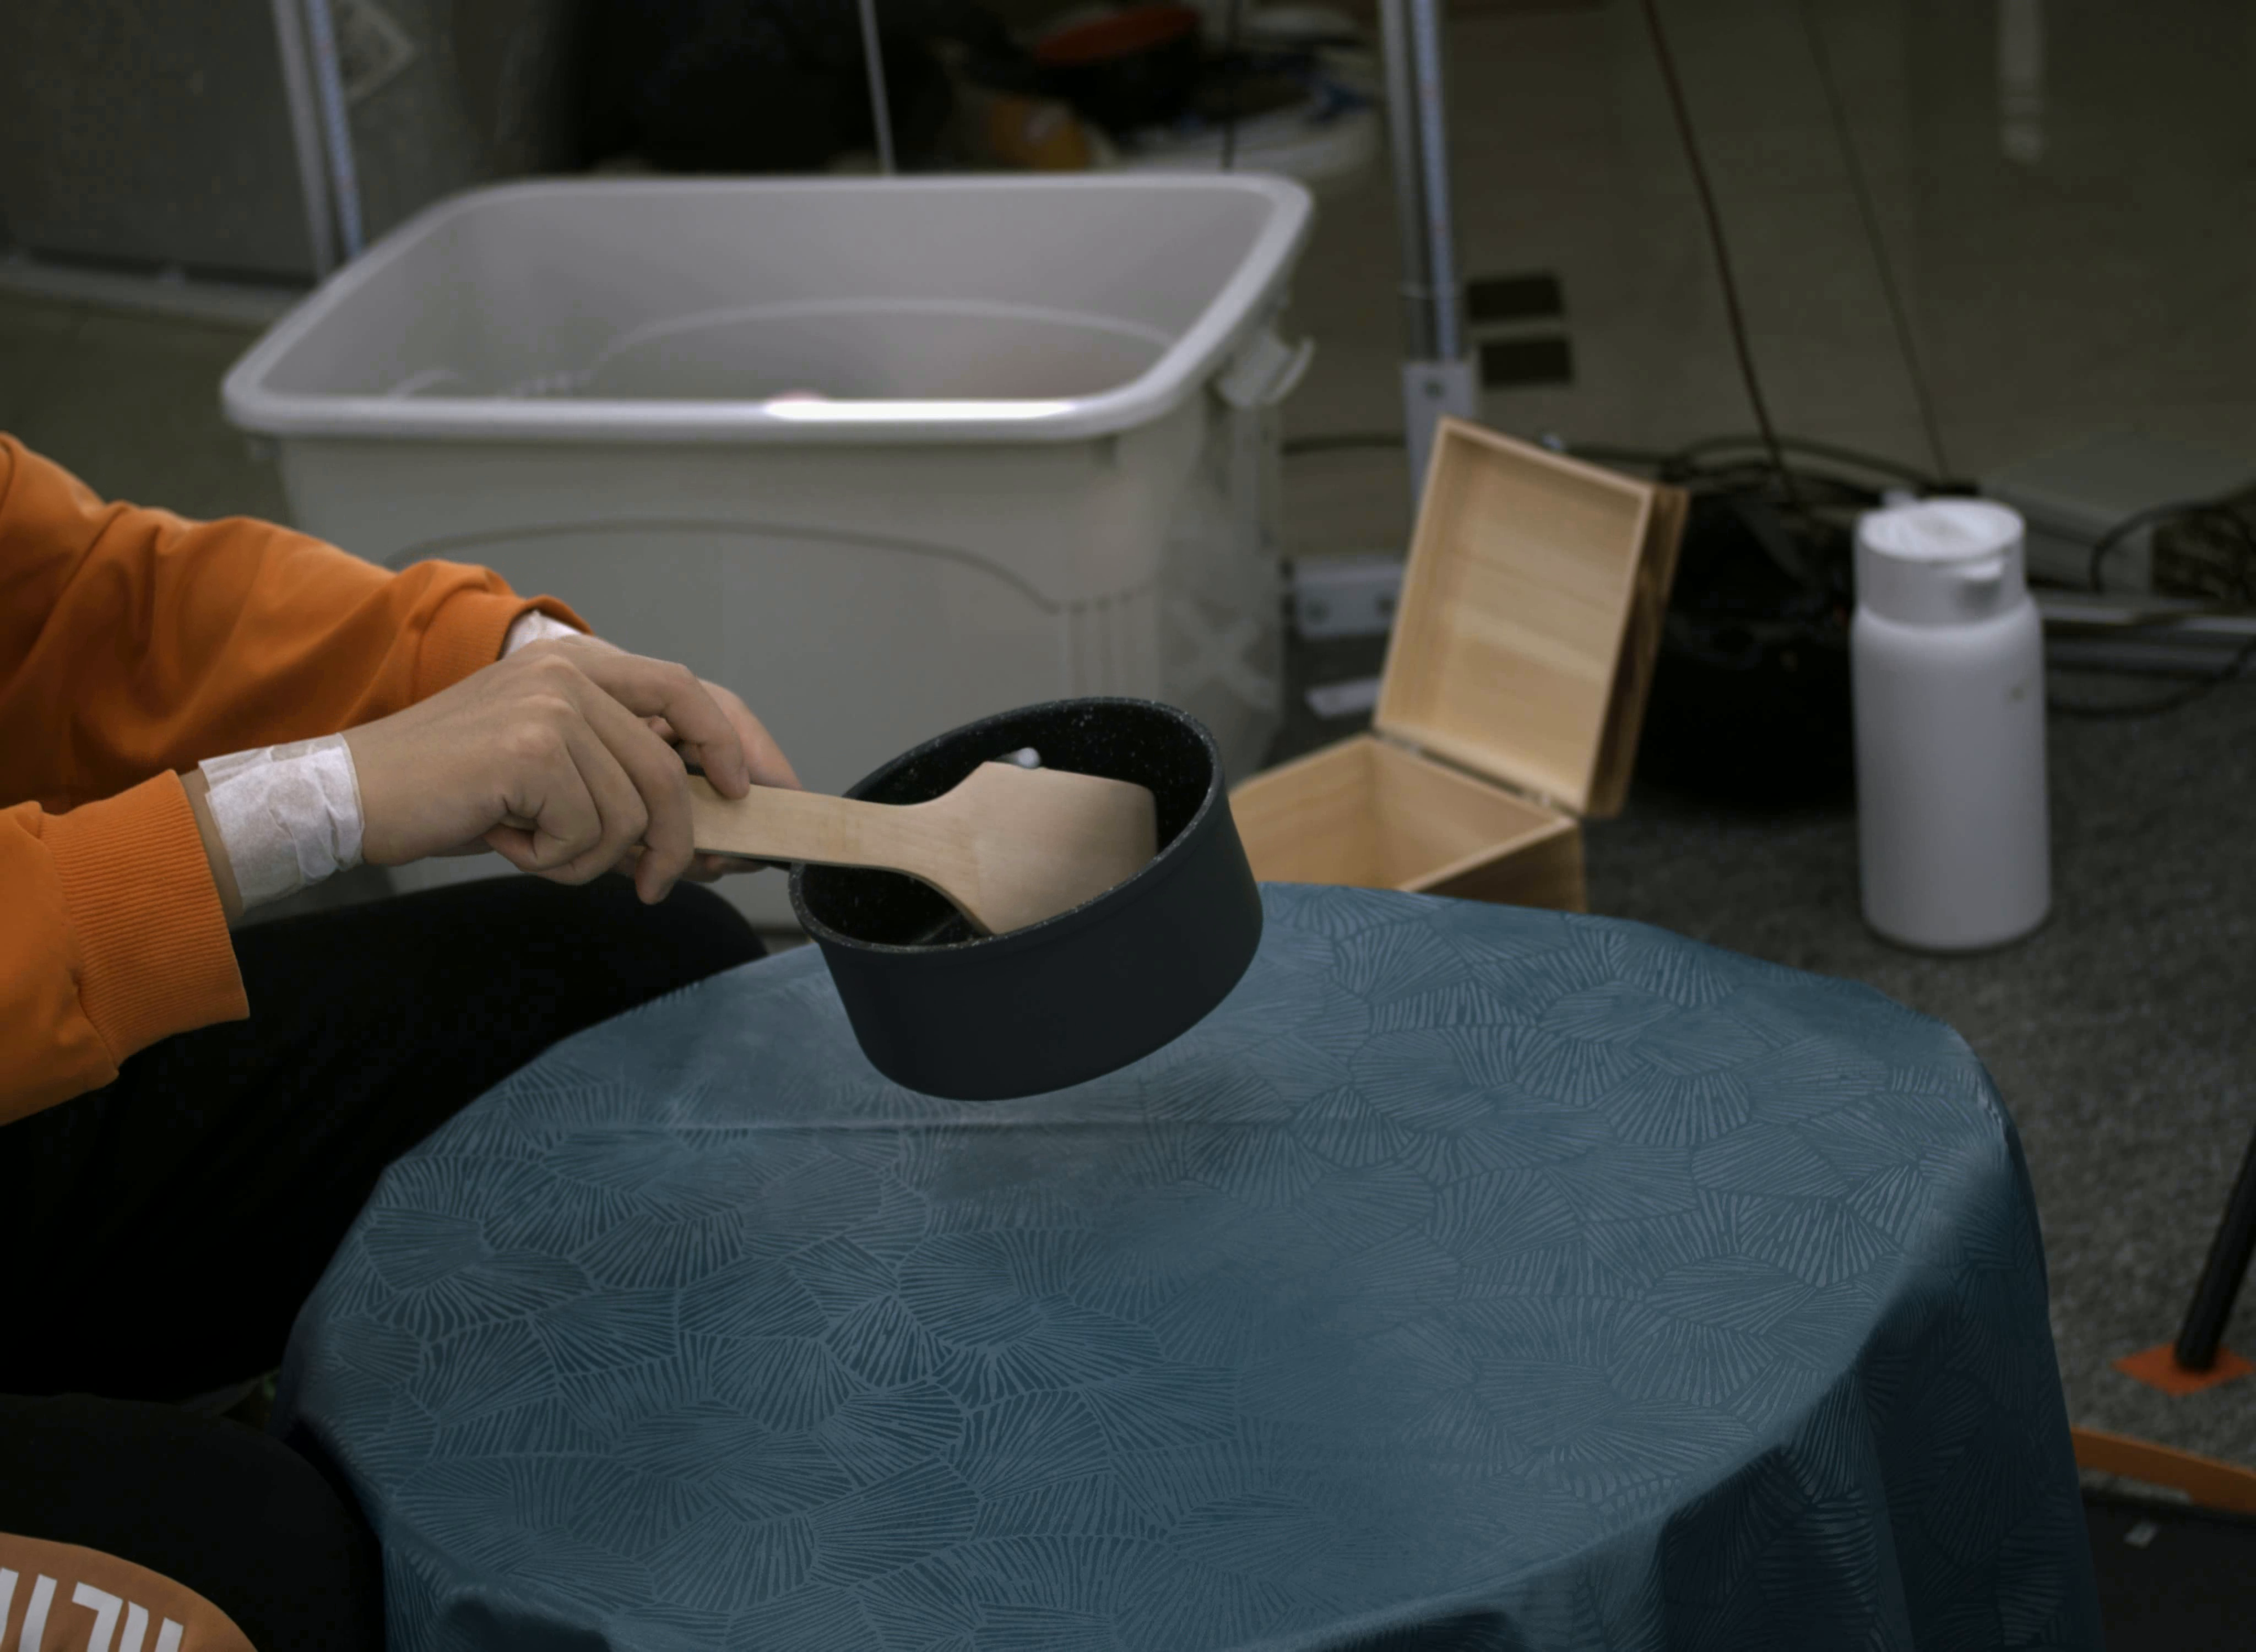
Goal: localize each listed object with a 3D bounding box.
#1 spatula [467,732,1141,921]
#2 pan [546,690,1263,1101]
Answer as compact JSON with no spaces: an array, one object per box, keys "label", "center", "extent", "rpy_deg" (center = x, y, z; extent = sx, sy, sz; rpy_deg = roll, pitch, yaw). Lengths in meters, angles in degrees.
[{"label":"spatula","center":[-0.112,-0.003,2.060],"extent":[0.293,0.072,0.010],"rpy_deg":[2,-7,-36]},{"label":"pan","center":[-0.096,0.016,2.191],"extent":[0.327,0.088,0.170],"rpy_deg":[11,40,40]}]
